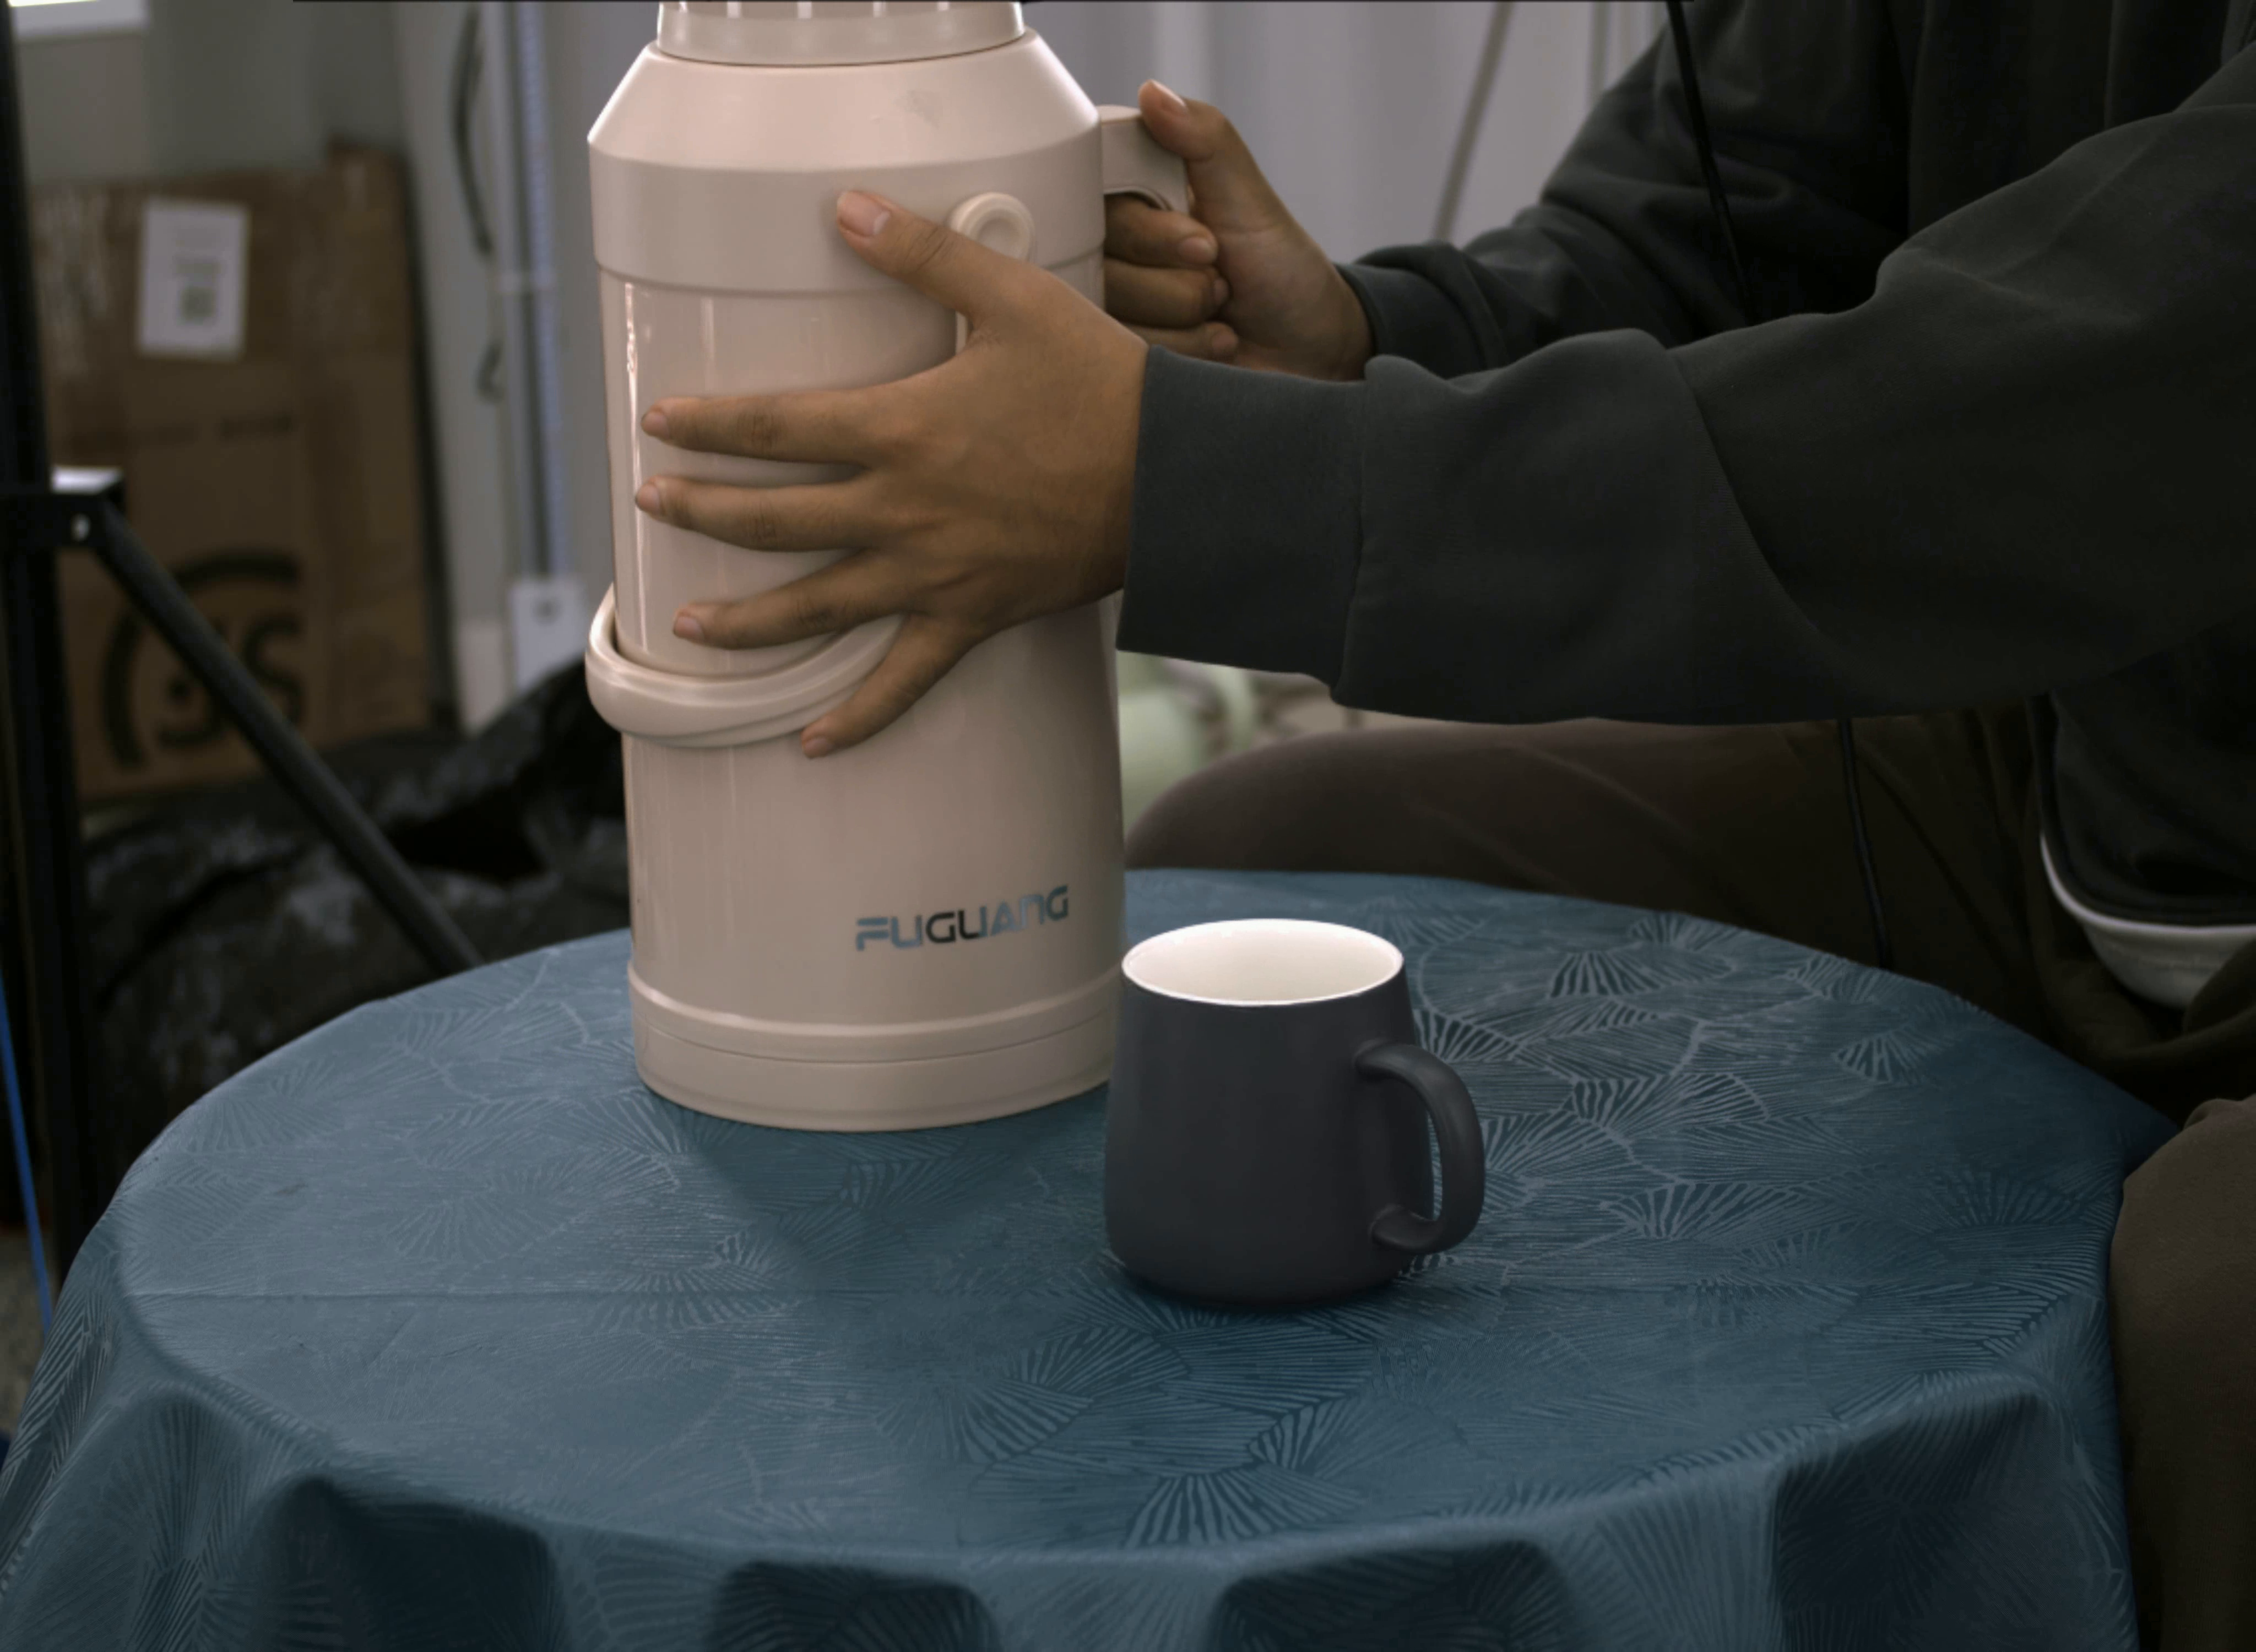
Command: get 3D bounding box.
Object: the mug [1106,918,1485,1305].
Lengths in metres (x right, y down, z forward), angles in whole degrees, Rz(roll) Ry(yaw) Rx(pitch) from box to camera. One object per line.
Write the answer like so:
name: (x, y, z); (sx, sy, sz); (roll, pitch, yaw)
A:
mug: (0.050, 0.082, 1.472); (0.091, 0.090, 0.126); (-16, 21, -40)

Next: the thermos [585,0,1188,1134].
thermos: (-0.071, -0.121, 1.649); (0.202, 0.406, 0.179); (-11, 17, -31)
